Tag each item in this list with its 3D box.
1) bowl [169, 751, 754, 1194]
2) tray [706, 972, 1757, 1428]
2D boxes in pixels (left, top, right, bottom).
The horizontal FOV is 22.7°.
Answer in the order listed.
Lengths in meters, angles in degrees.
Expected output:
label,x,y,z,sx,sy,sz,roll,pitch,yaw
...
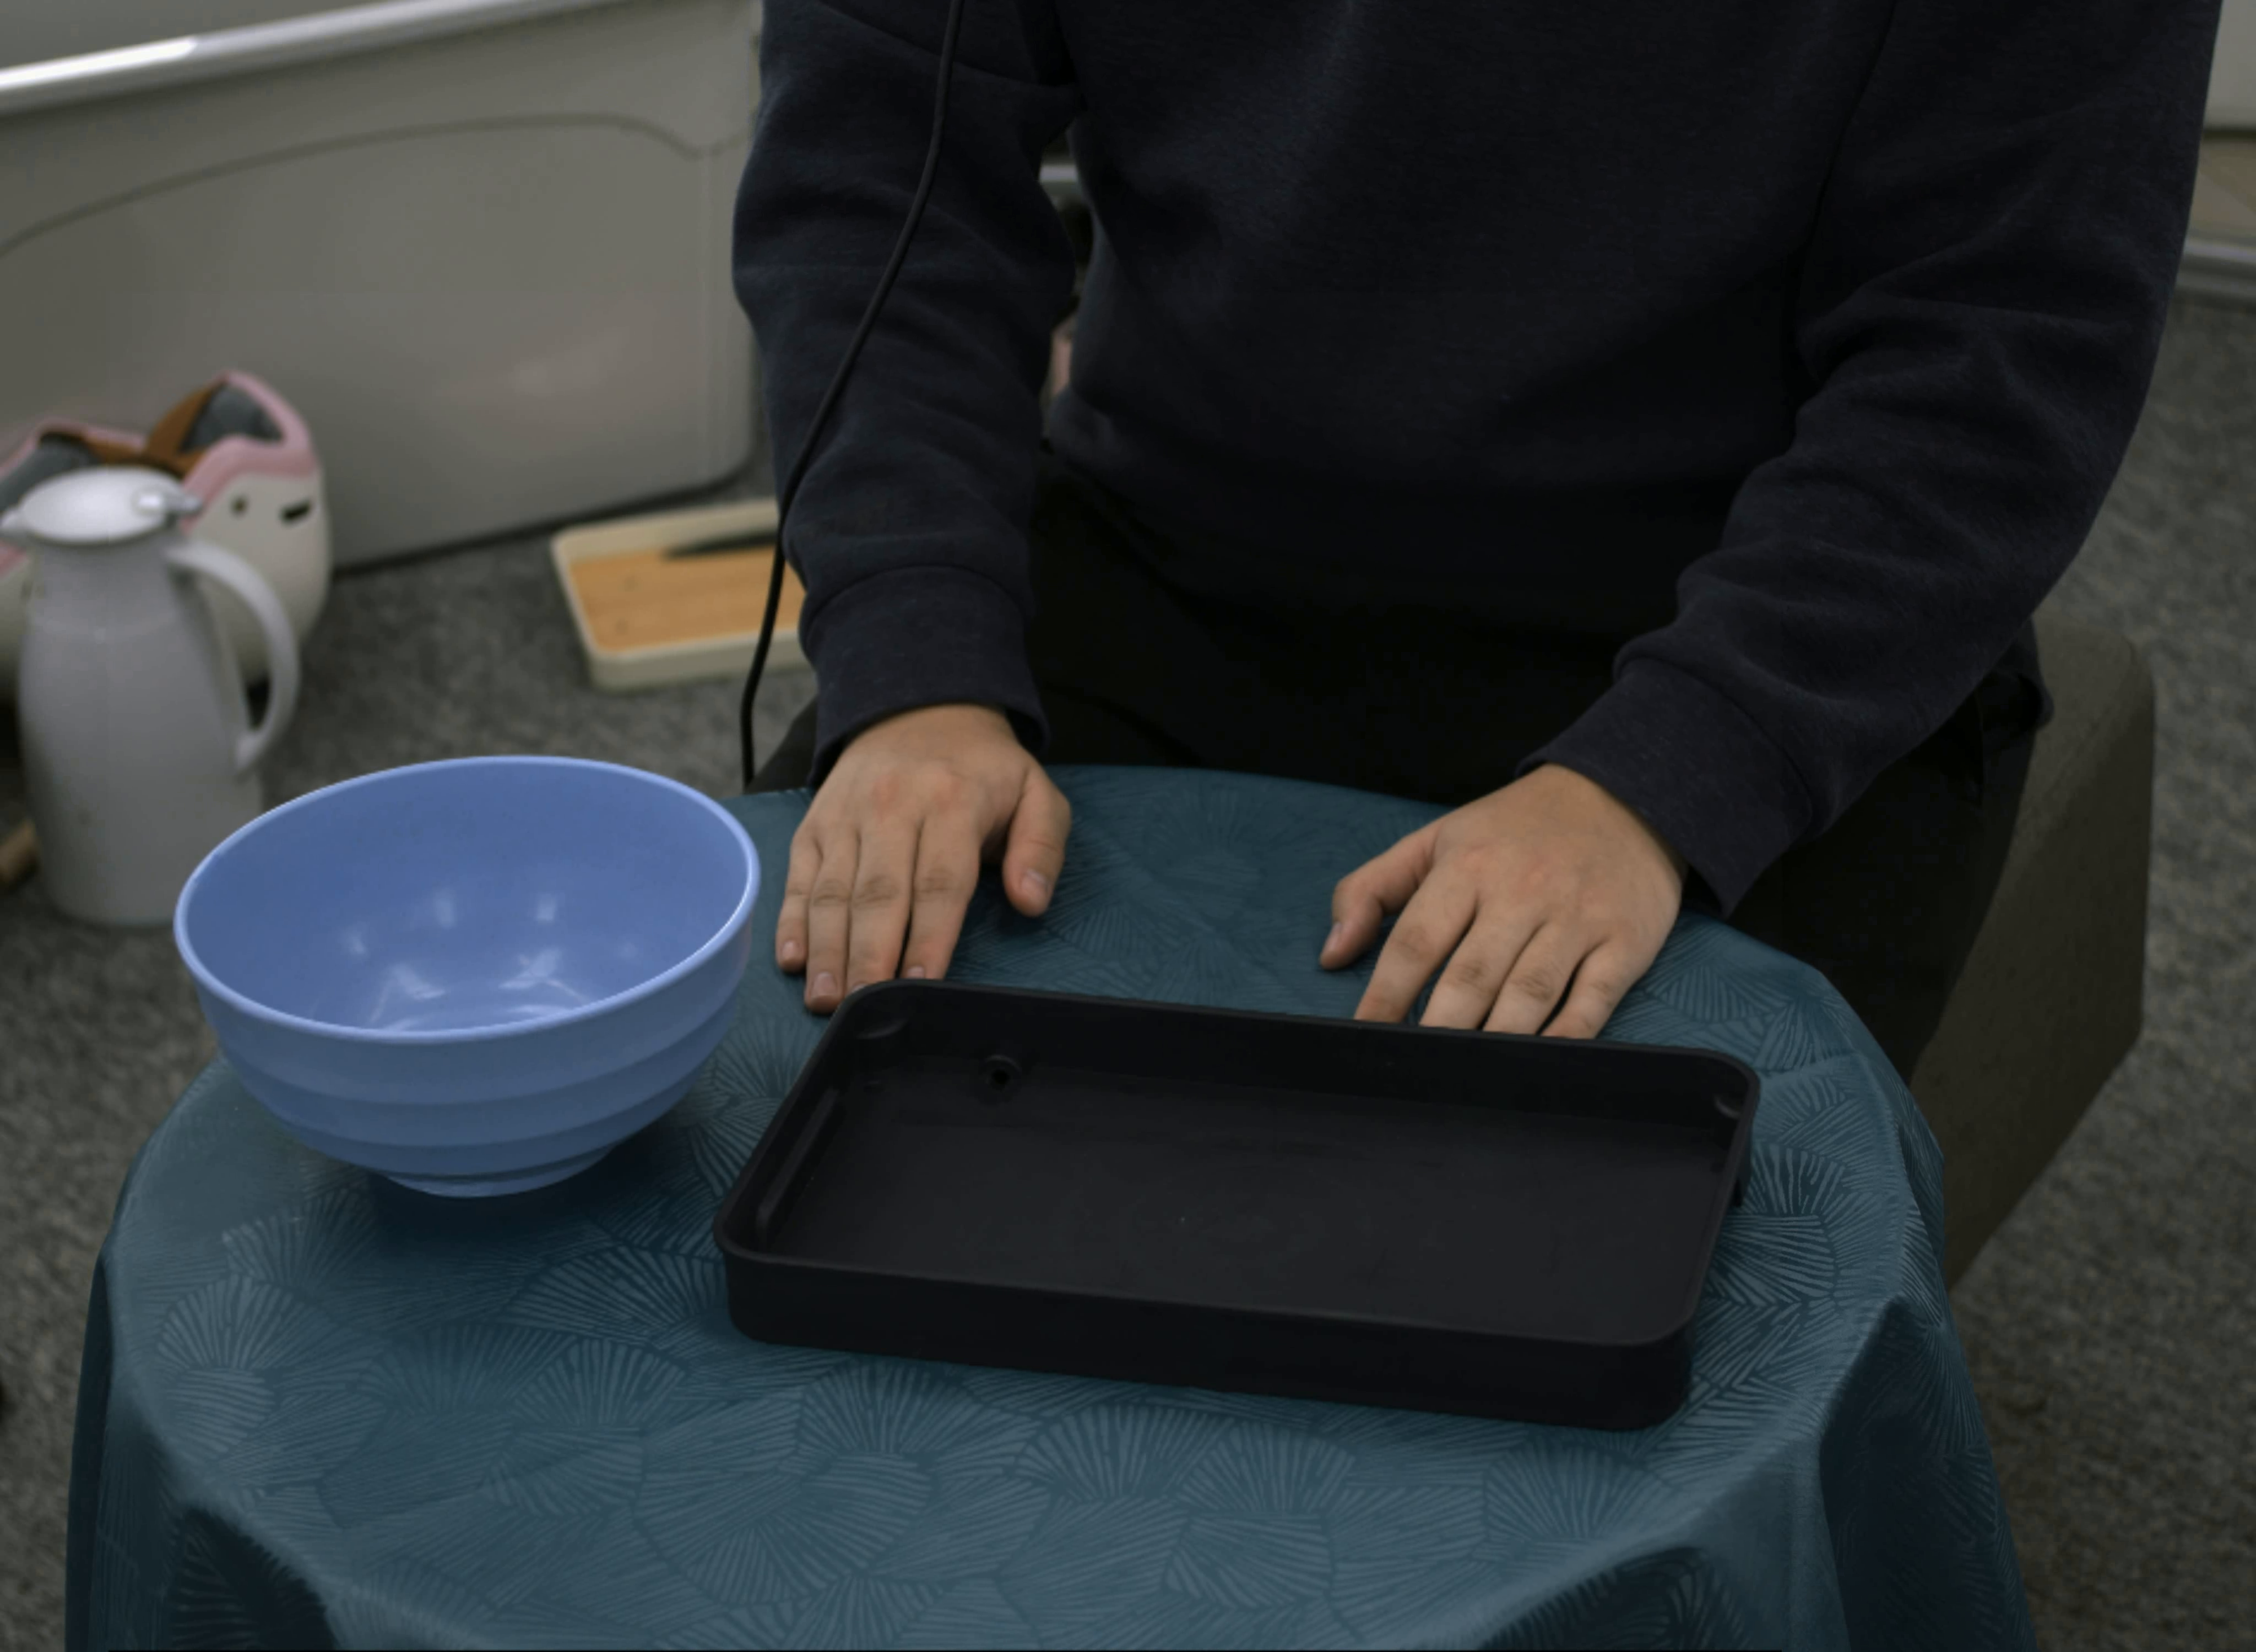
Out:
label,x,y,z,sx,sy,sz,roll,pitch,yaw
bowl,-0.218,0.061,1.896,0.195,0.094,0.199,-4,27,2
tray,0.036,0.118,1.827,0.316,0.036,0.187,5,28,13
